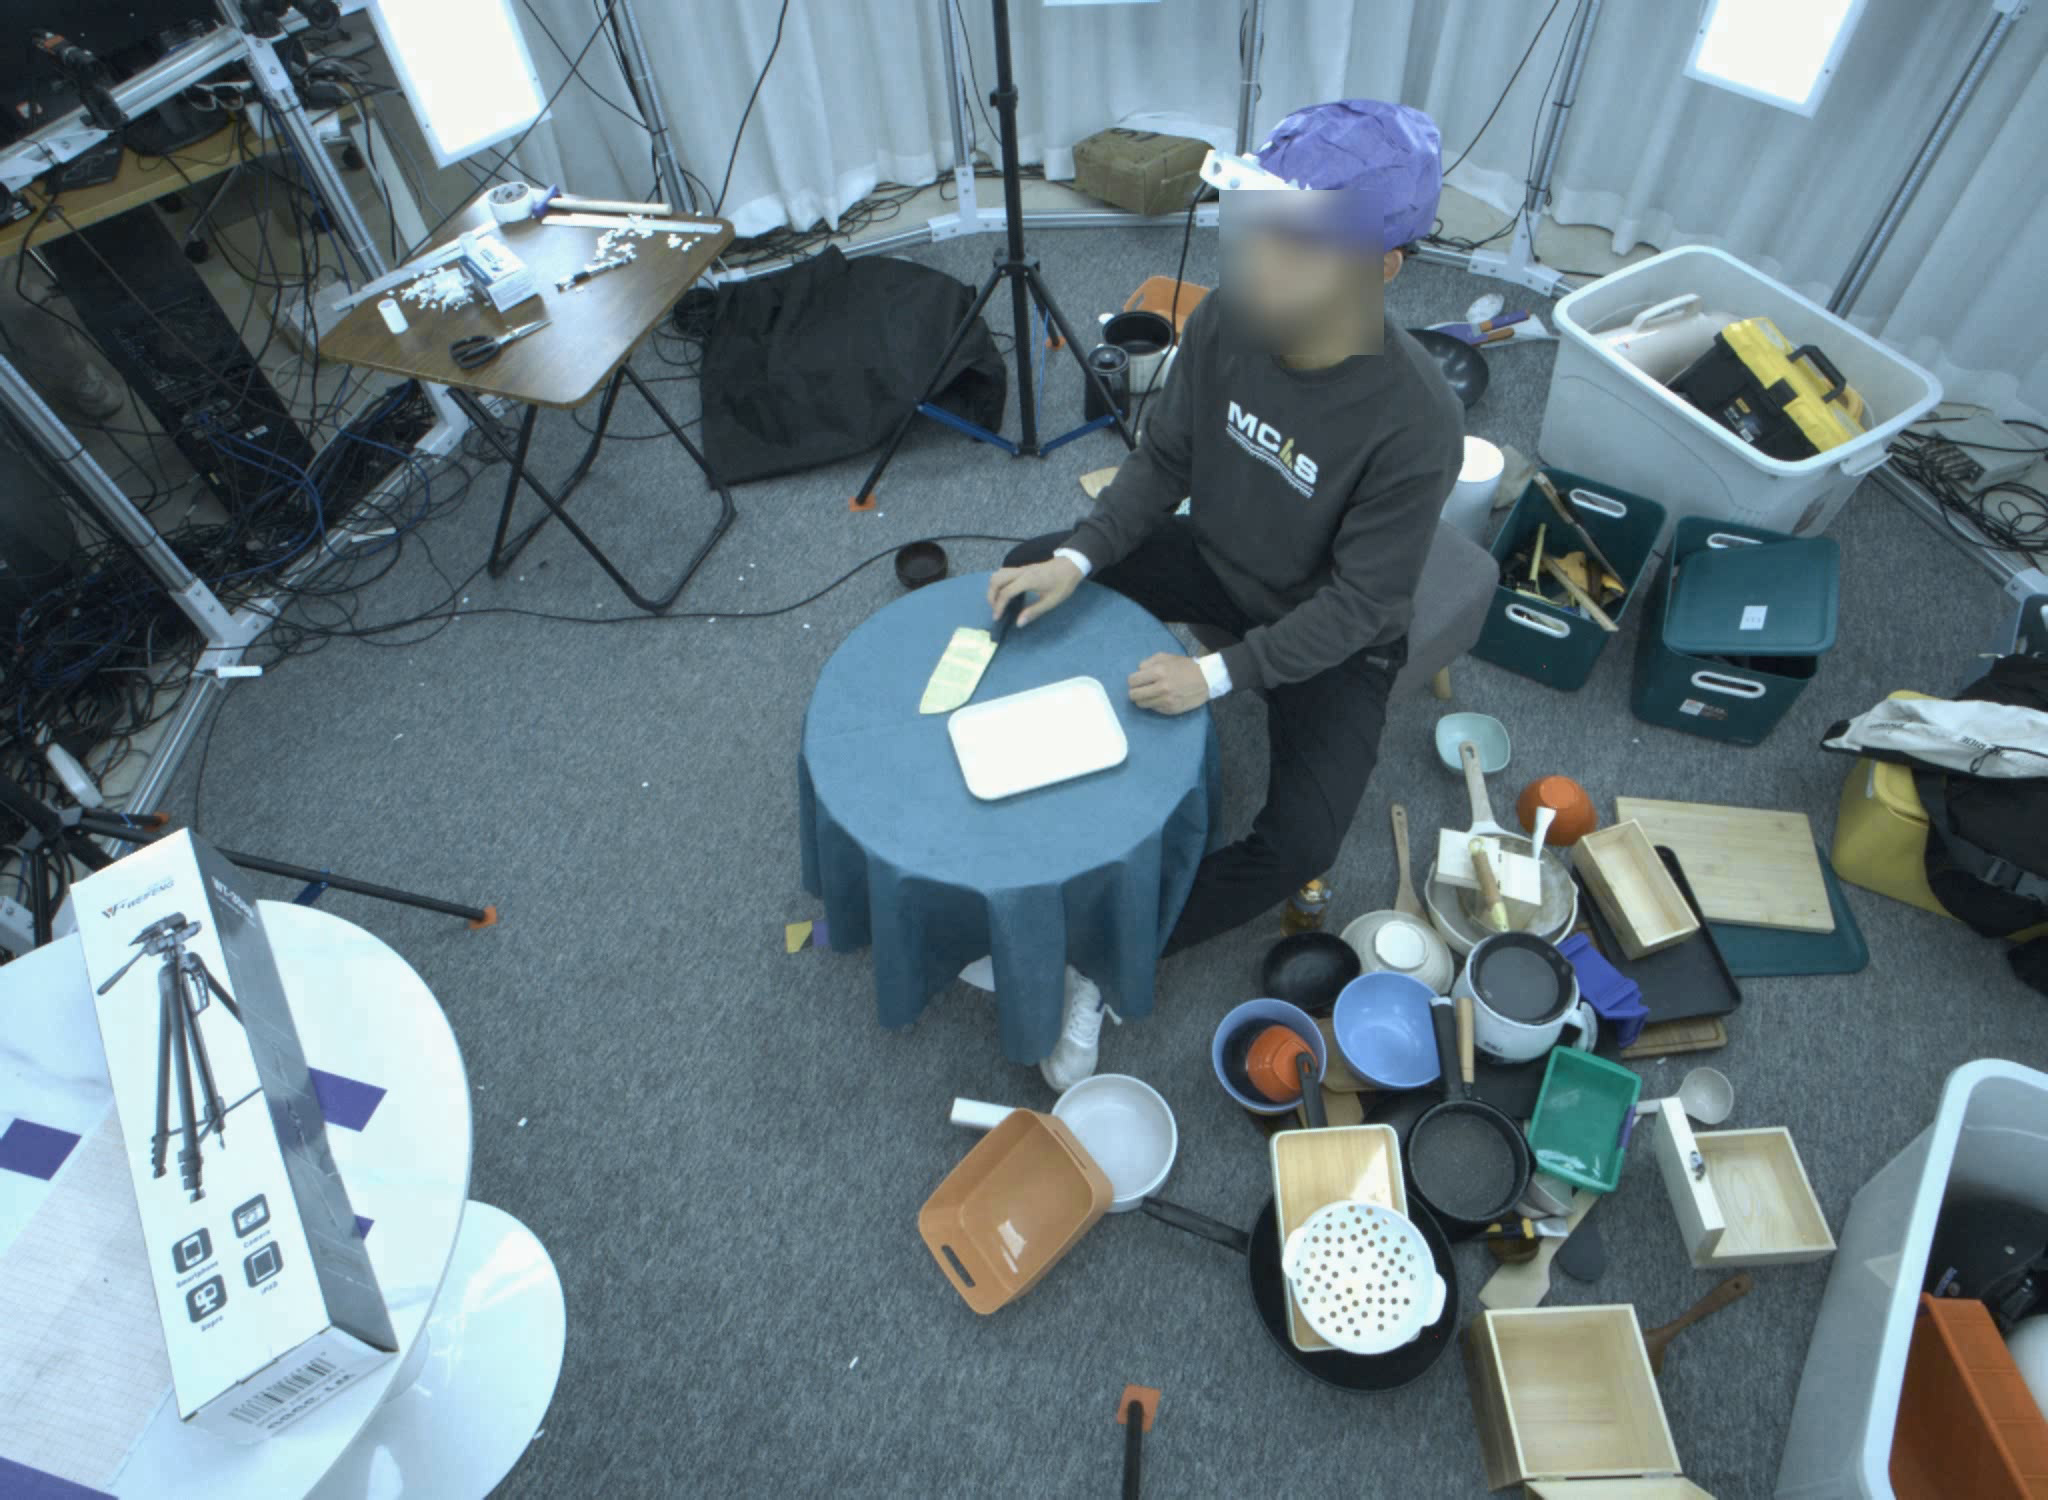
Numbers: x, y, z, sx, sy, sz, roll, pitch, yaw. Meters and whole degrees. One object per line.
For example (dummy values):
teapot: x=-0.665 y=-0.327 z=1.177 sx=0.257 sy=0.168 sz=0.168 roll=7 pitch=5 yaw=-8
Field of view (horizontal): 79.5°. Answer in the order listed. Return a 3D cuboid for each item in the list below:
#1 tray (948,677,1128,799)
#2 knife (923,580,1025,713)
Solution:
tray: x=0.020 y=-0.018 z=1.796 sx=0.241 sy=0.017 sz=0.168 roll=-15 pitch=55 yaw=-9
knife: x=-0.076 y=-0.164 z=1.905 sx=0.080 sy=0.027 sz=0.290 roll=21 pitch=58 yaw=15
